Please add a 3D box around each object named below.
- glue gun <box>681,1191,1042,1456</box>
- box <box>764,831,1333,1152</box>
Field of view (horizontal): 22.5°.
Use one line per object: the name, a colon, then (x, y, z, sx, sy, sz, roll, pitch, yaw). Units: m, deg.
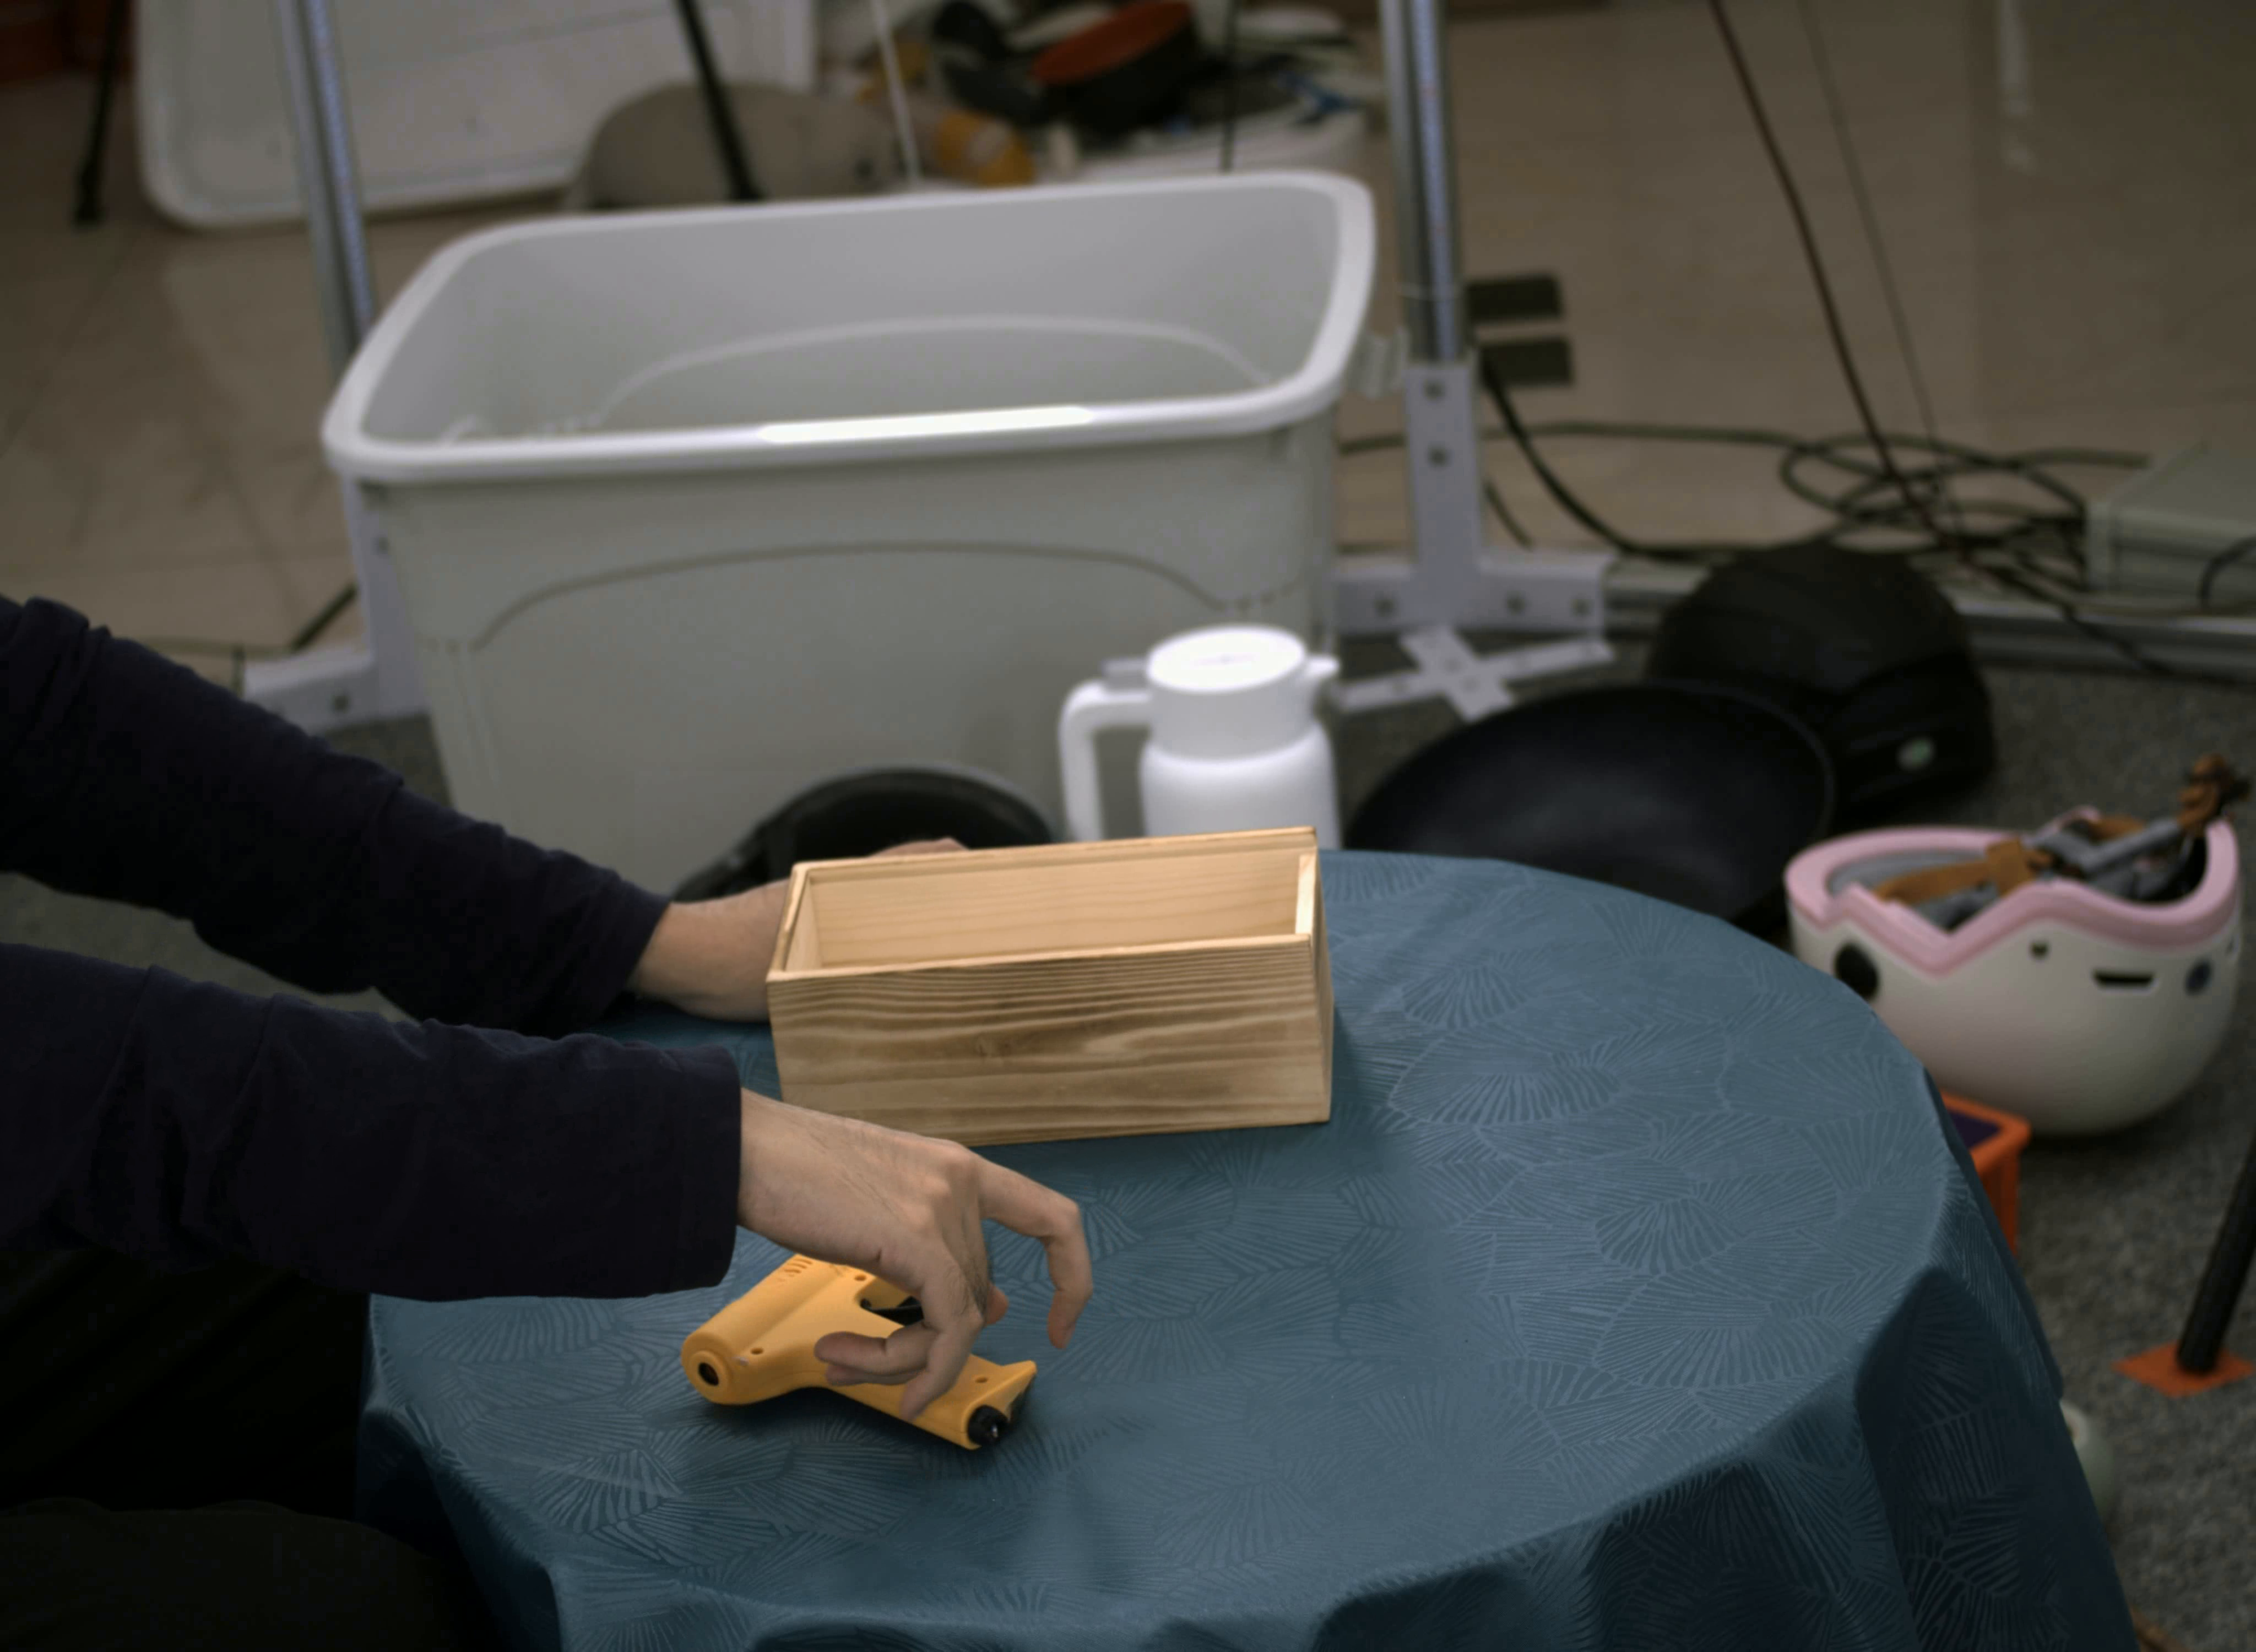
glue gun: (-0.070, 0.175, 2.059, 0.132, 0.031, 0.149, 9, 30, 27)
box: (-0.029, 0.064, 2.220, 0.211, 0.081, 0.106, -3, 25, 5)
